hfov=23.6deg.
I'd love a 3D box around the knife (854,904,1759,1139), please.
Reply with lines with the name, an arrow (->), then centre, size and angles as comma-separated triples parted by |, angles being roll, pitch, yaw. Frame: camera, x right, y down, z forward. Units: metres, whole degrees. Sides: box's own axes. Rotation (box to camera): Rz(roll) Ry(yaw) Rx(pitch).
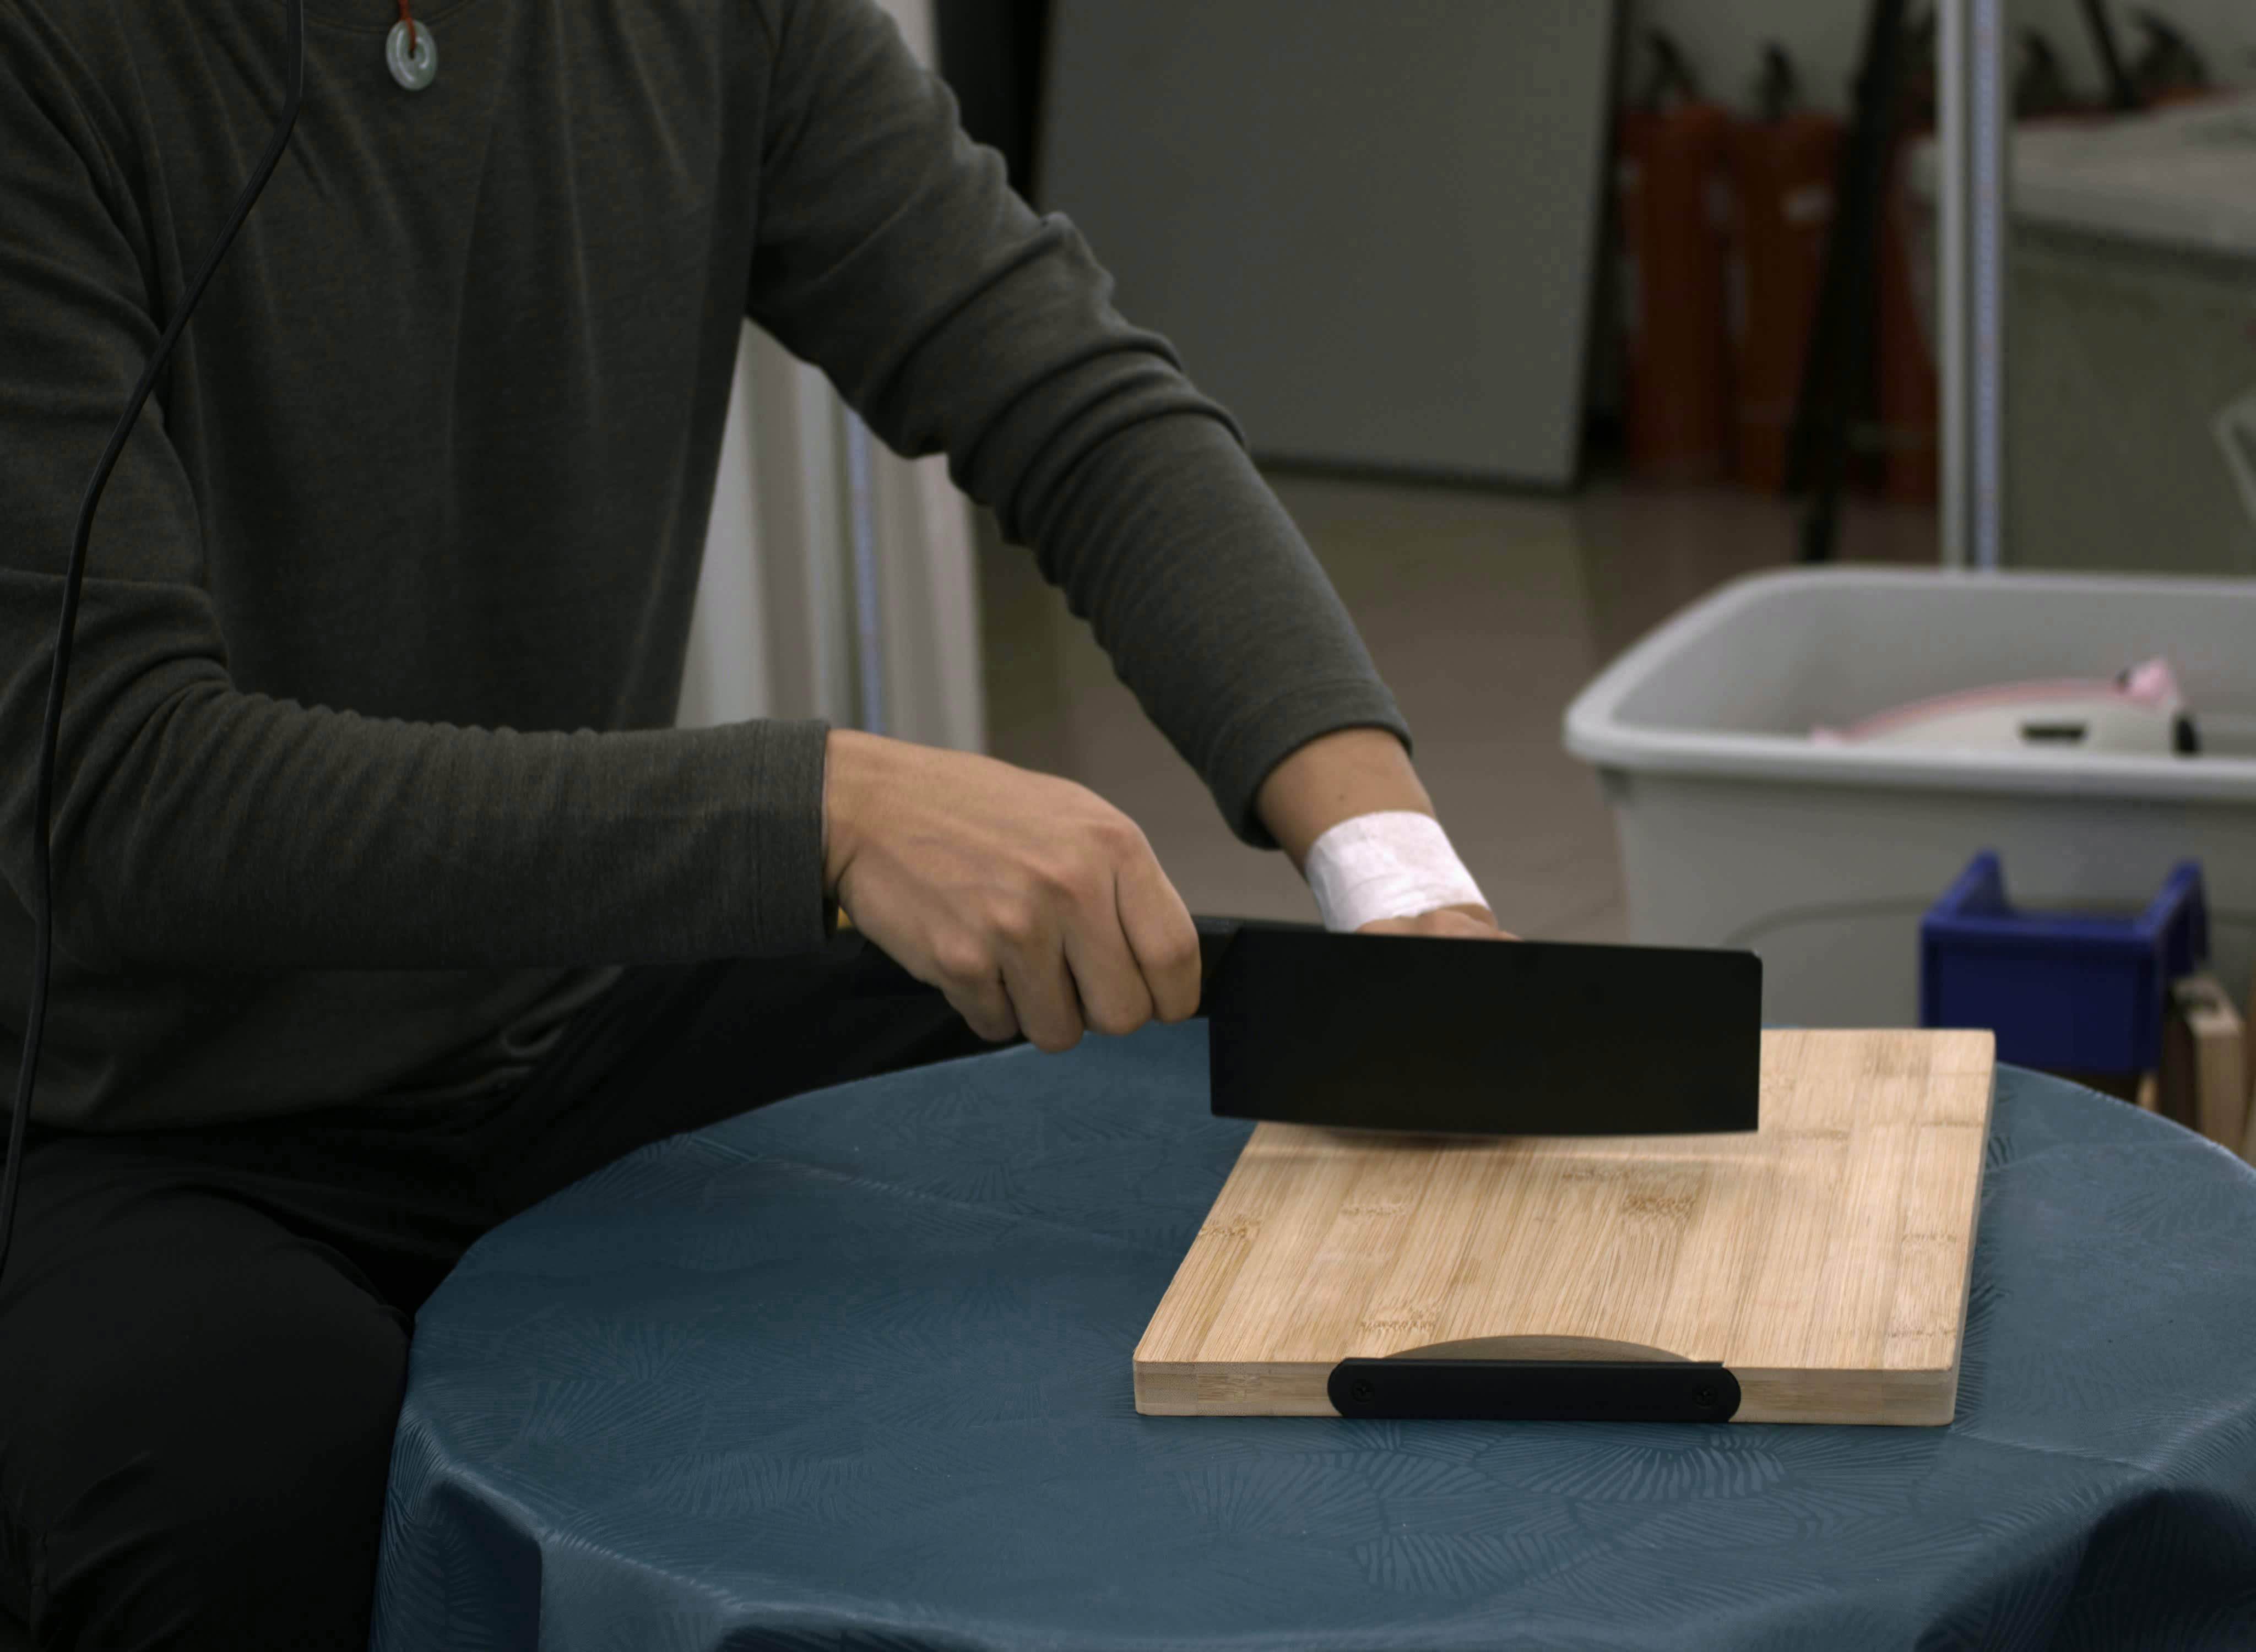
knife -> 0.056, 0.062, 1.736 | 0.301, 0.082, 0.020 | 7, 12, 14

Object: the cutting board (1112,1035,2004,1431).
cutting board -> 0.147, 0.123, 1.691 | 0.249, 0.024, 0.347 | -2, 13, 12
